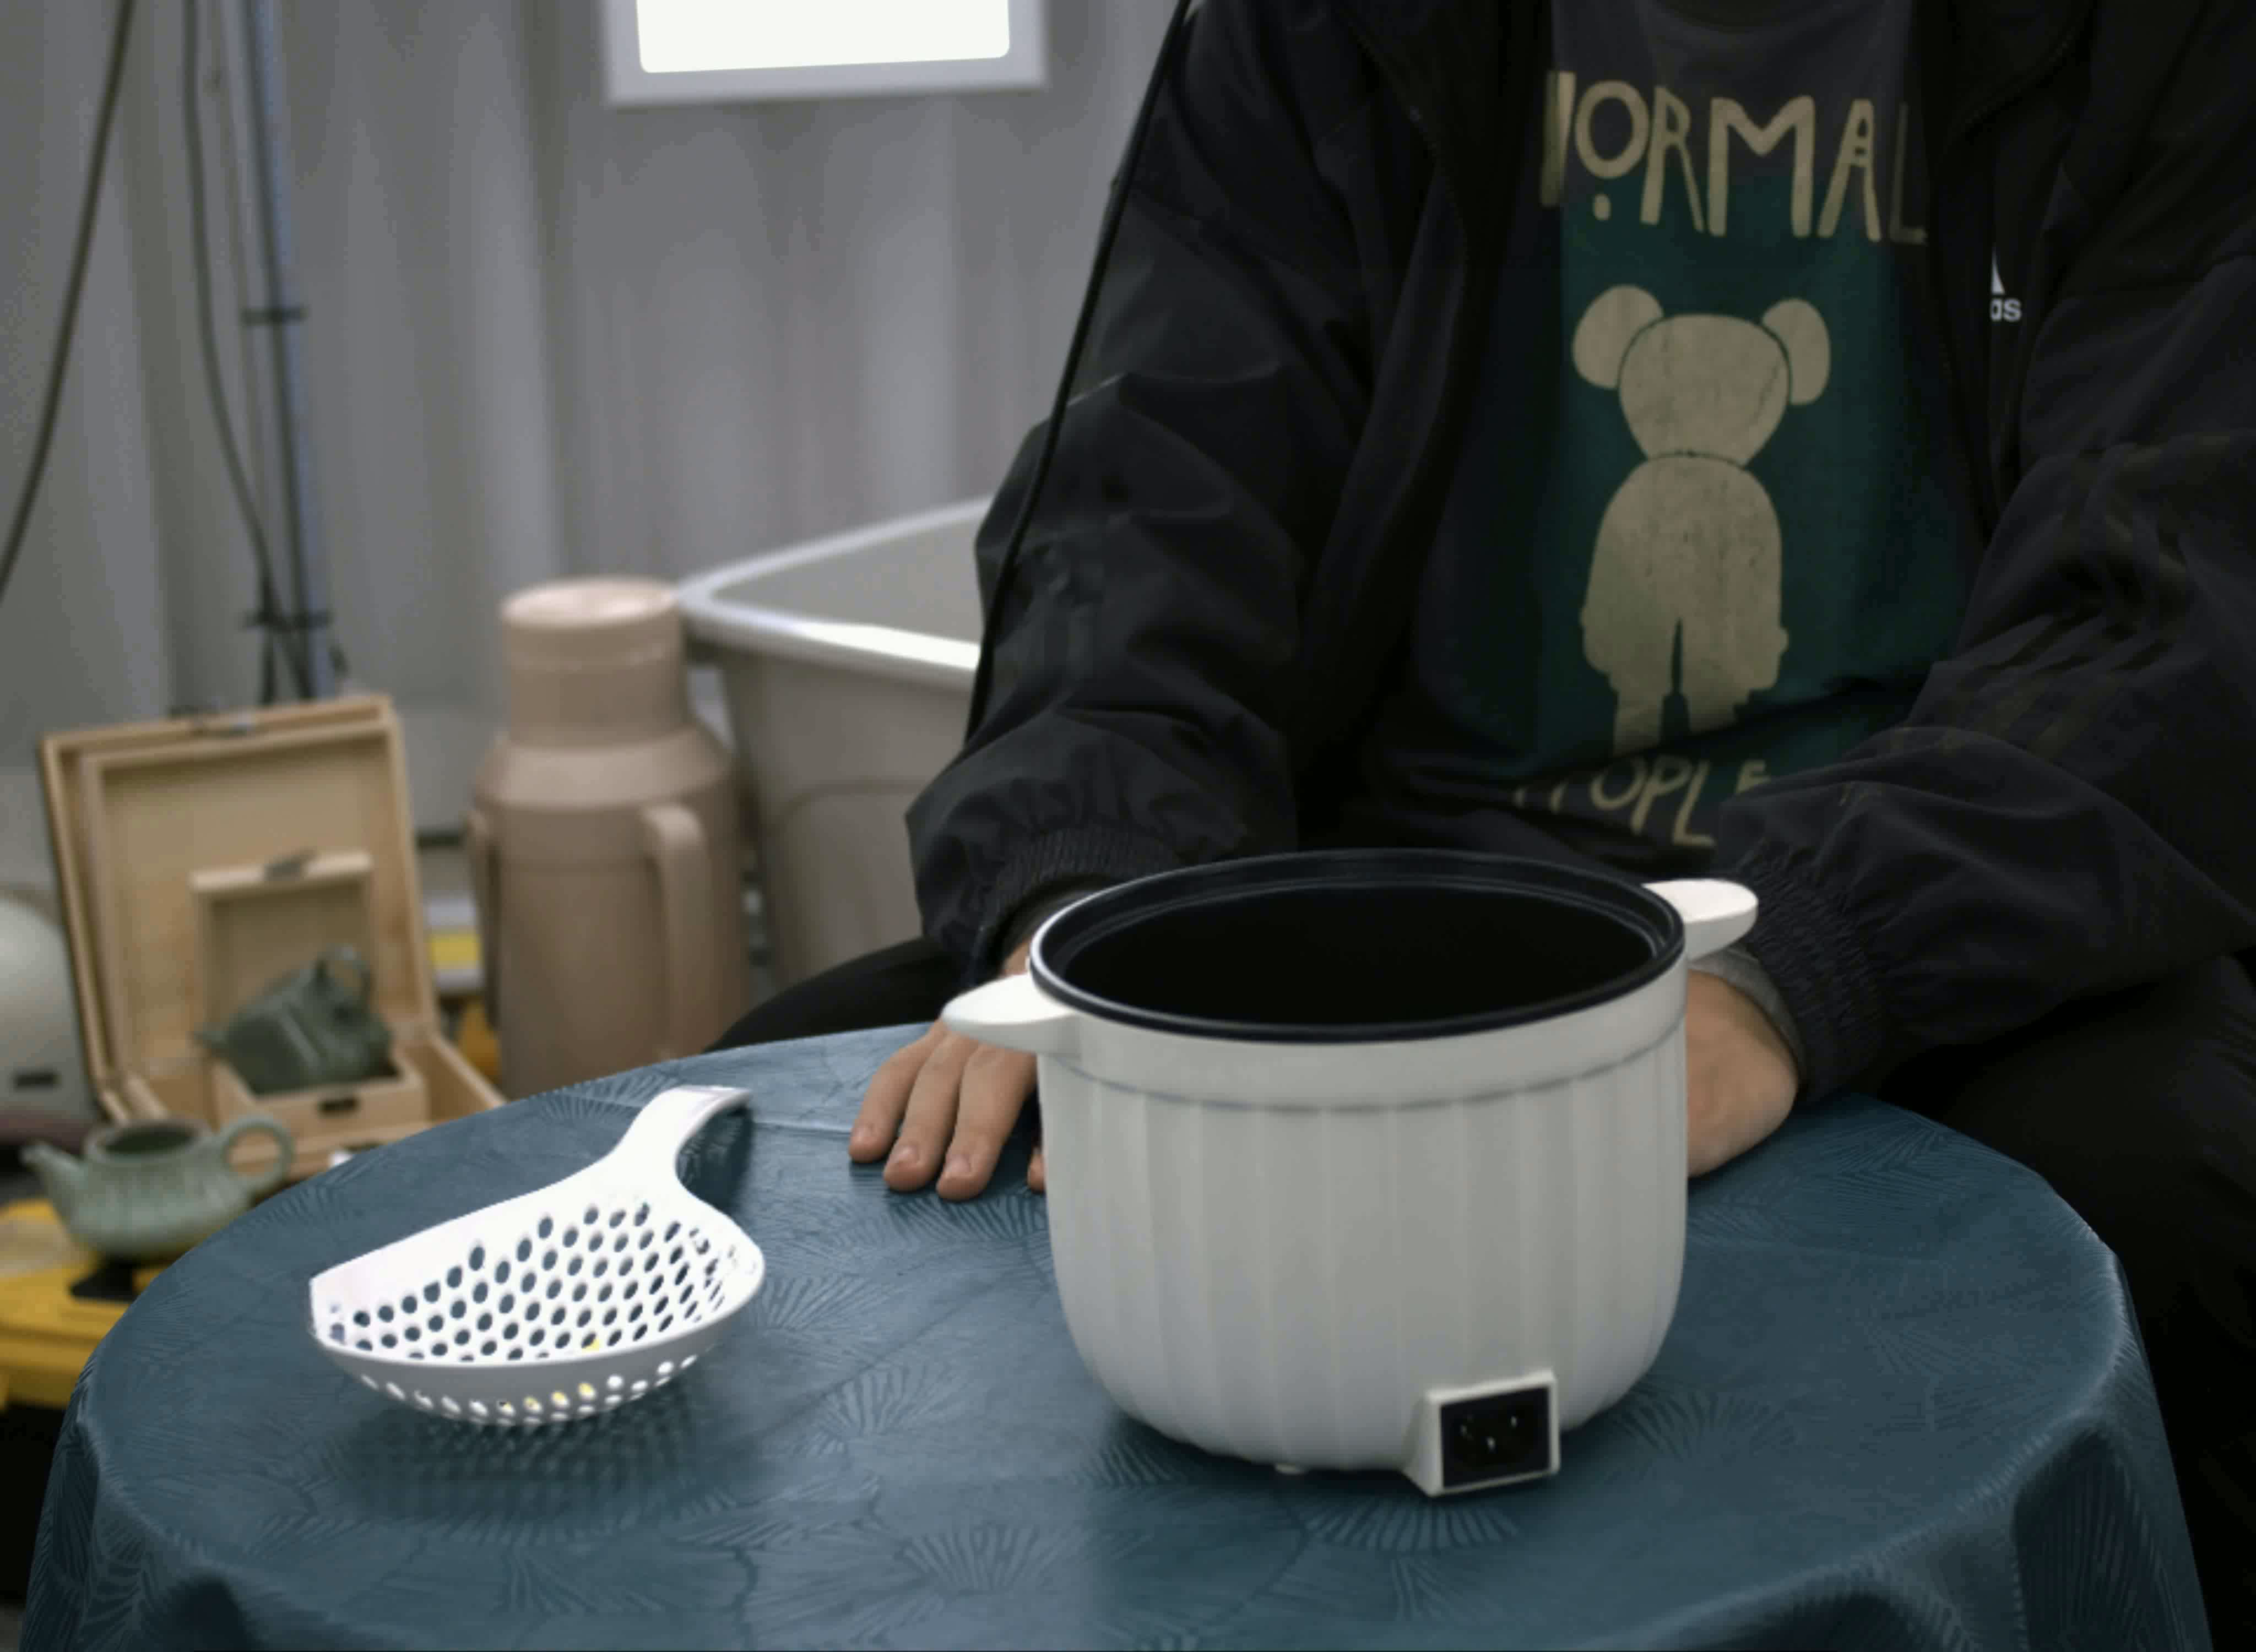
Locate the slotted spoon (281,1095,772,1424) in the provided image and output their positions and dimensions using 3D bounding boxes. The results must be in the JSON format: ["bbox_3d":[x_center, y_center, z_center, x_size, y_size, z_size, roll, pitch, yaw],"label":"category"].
[{"bbox_3d":[-0.154,0.117,1.653,0.136,0.050,0.350,-3,15,8],"label":"slotted spoon"}]

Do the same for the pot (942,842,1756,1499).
[{"bbox_3d":[0.062,0.092,1.518,0.239,0.142,0.192,-7,18,-20],"label":"pot"}]
